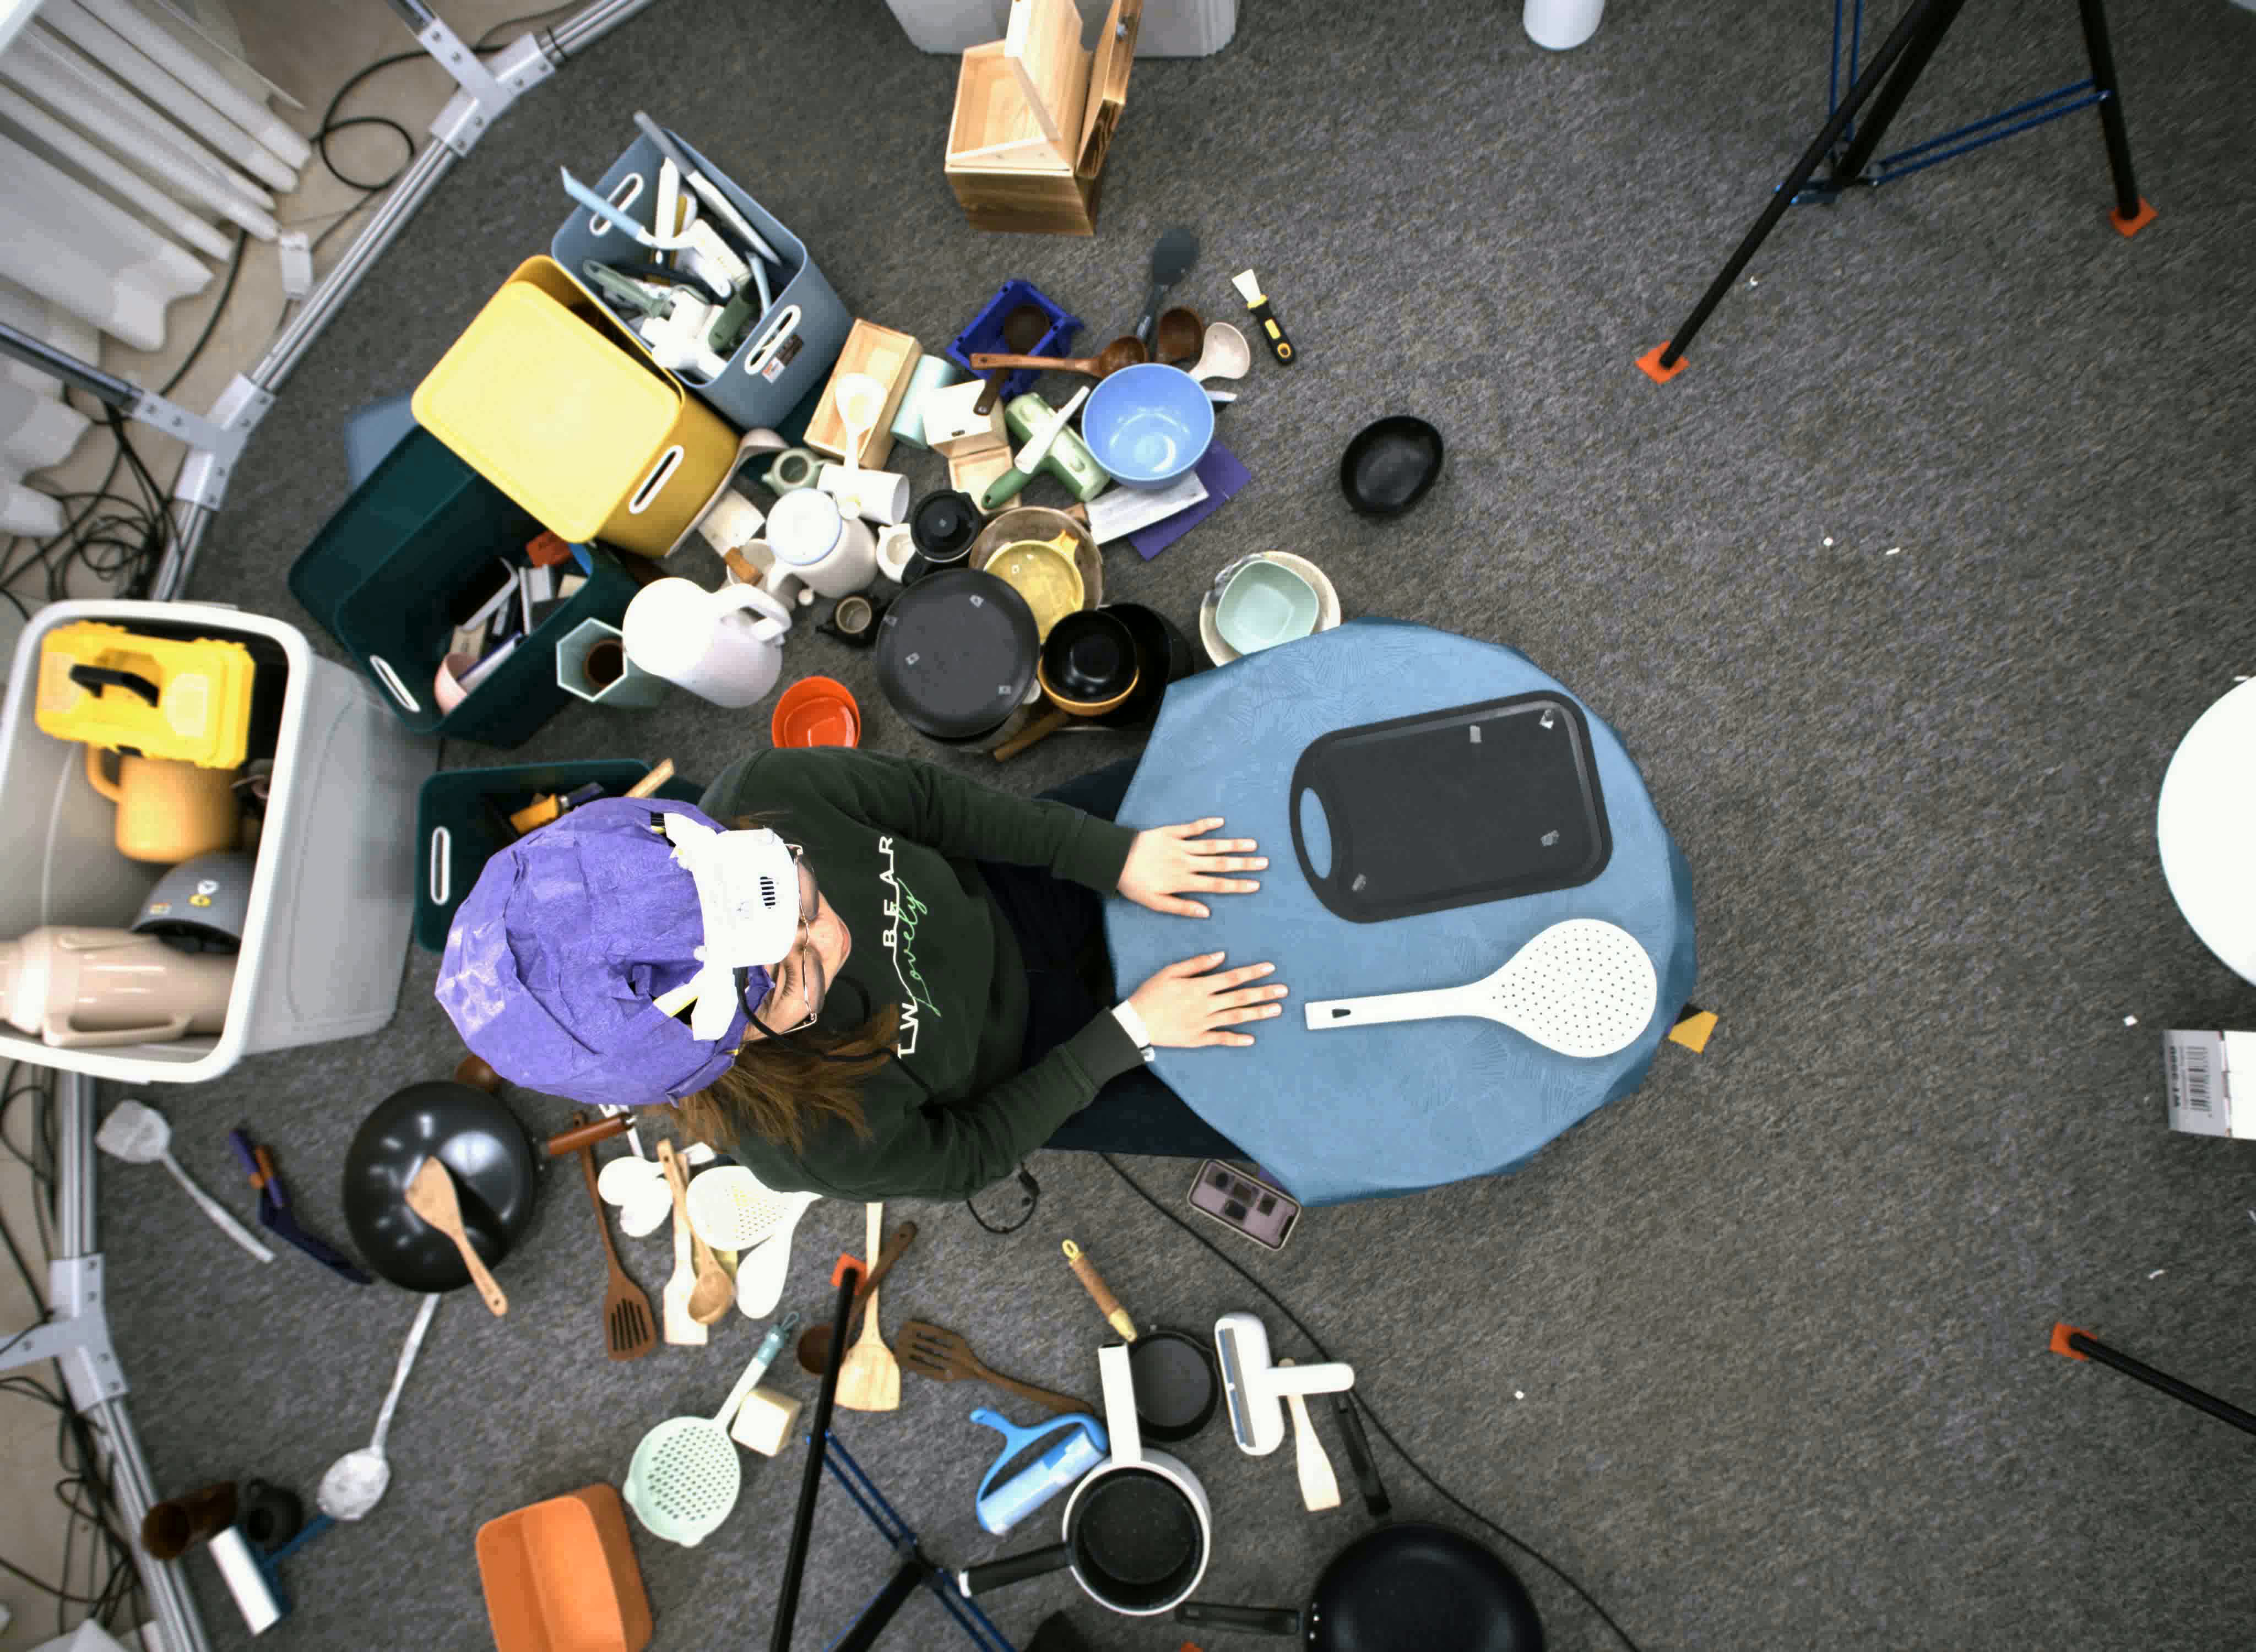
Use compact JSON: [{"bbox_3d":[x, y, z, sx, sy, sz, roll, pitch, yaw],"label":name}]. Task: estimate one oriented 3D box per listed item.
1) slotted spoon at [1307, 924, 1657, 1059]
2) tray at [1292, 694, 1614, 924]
[{"bbox_3d":[0.359,0.179,1.418,0.351,0.046,0.135,-7,82,11],"label":"slotted spoon"},{"bbox_3d":[0.337,-0.017,1.455,0.327,0.010,0.210,-11,84,10],"label":"tray"}]
